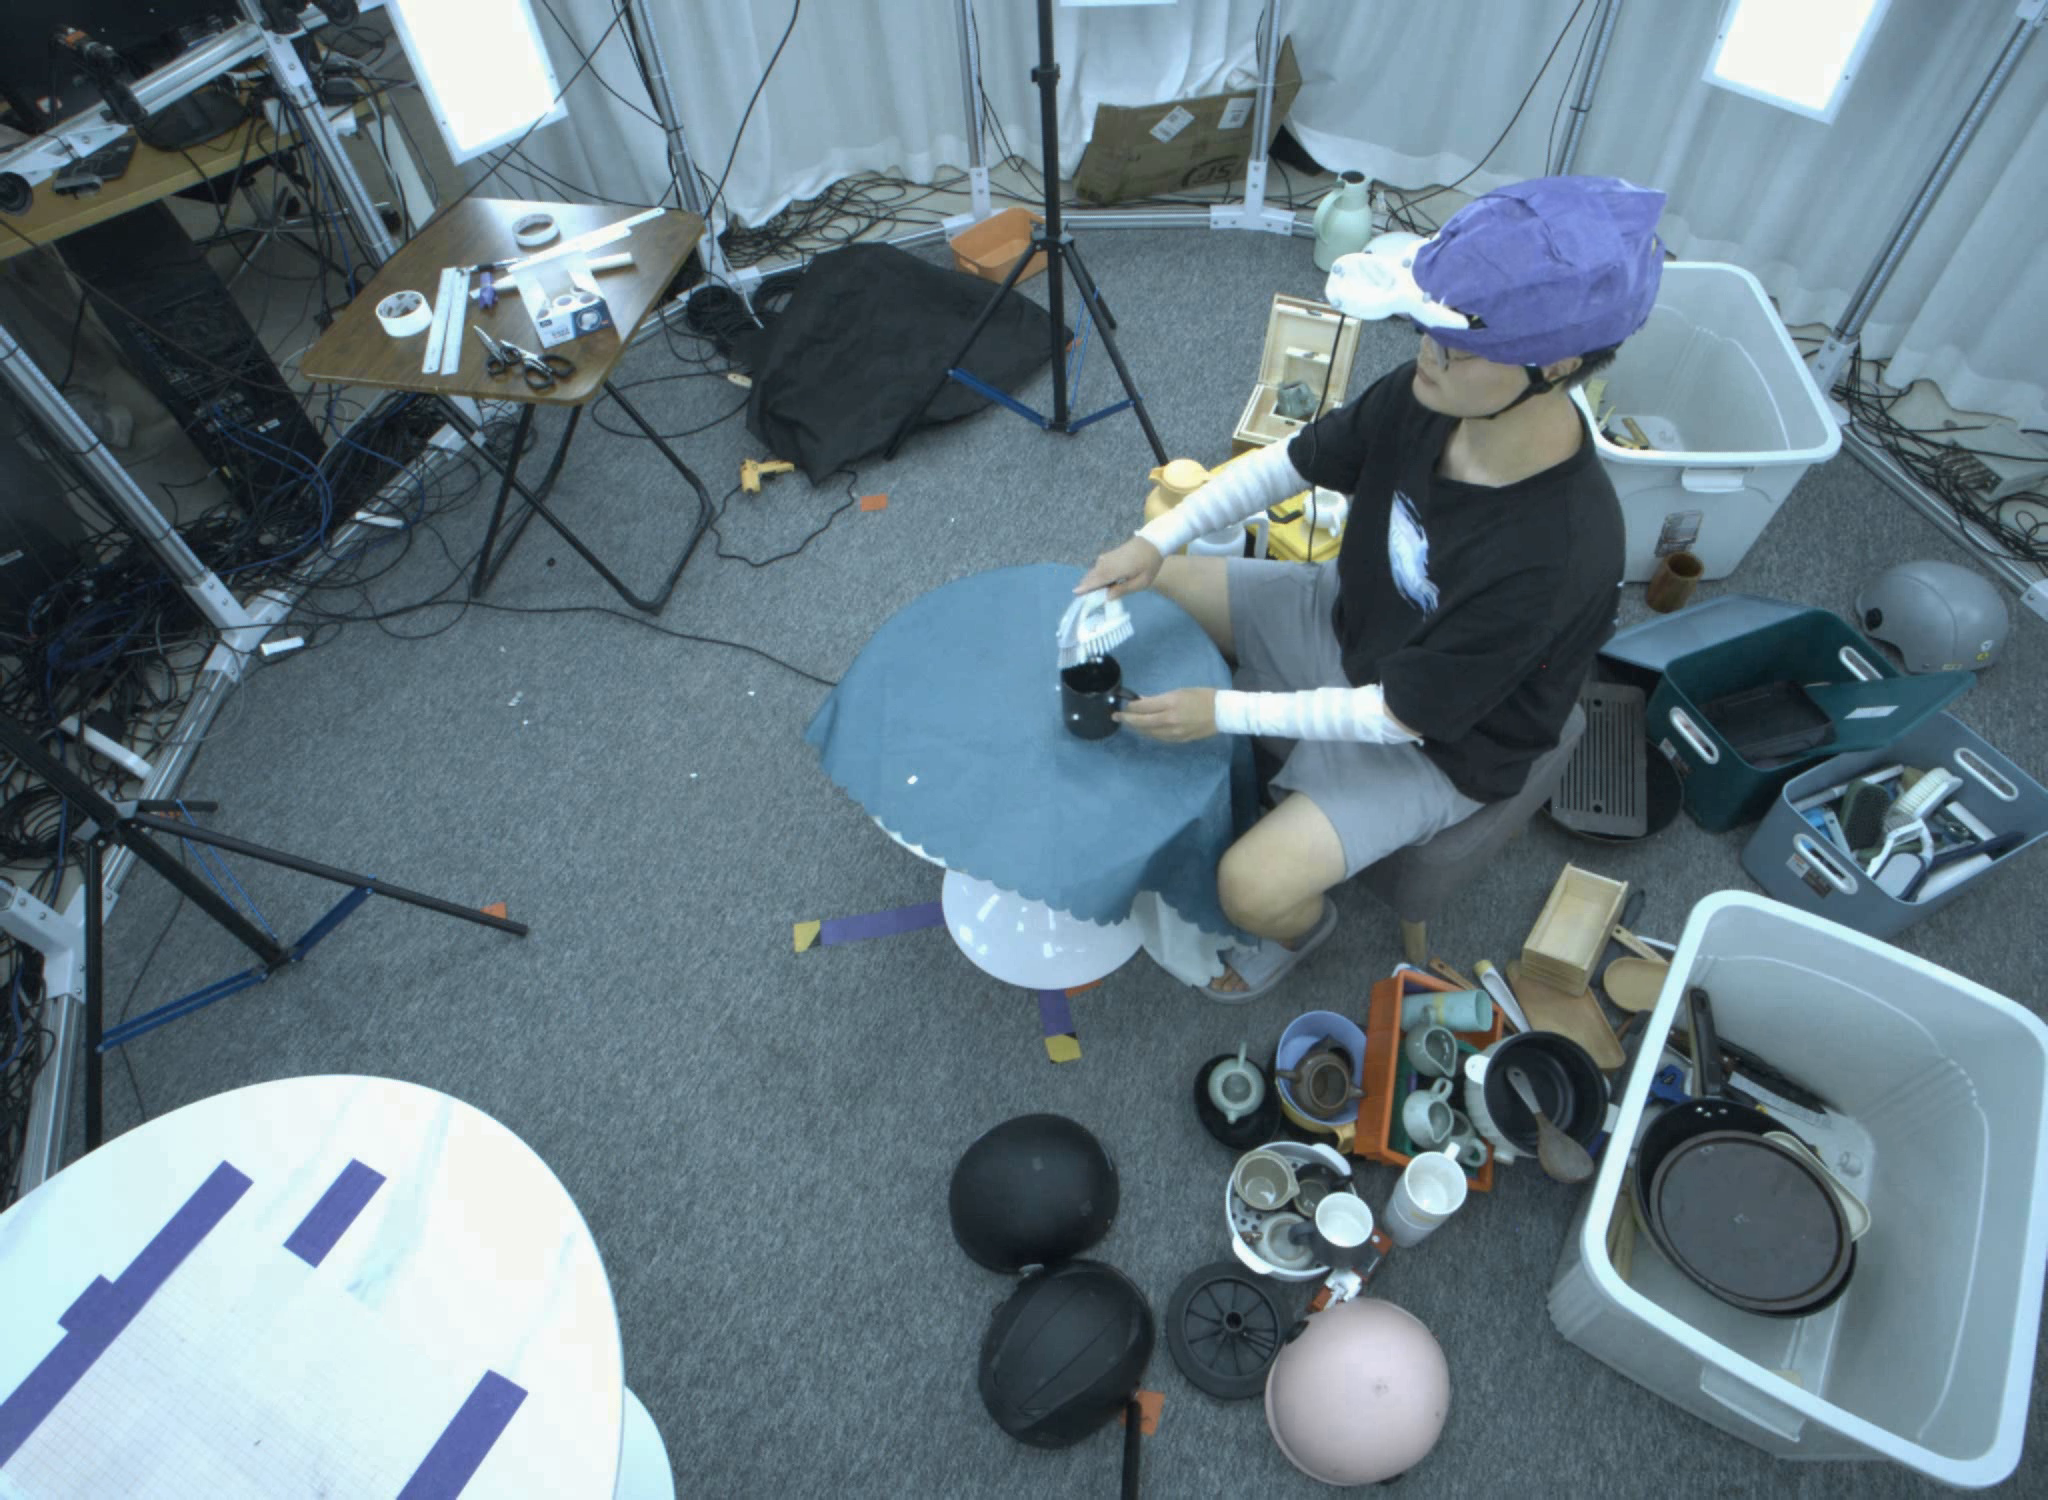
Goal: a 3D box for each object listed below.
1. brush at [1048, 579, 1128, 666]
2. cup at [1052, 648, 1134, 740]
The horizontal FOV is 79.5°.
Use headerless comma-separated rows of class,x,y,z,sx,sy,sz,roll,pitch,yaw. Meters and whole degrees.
brush,0.081,-0.187,1.756,0.060,0.095,0.177,2,25,35
cup,0.099,-0.075,1.767,0.122,0.106,0.089,20,53,15
